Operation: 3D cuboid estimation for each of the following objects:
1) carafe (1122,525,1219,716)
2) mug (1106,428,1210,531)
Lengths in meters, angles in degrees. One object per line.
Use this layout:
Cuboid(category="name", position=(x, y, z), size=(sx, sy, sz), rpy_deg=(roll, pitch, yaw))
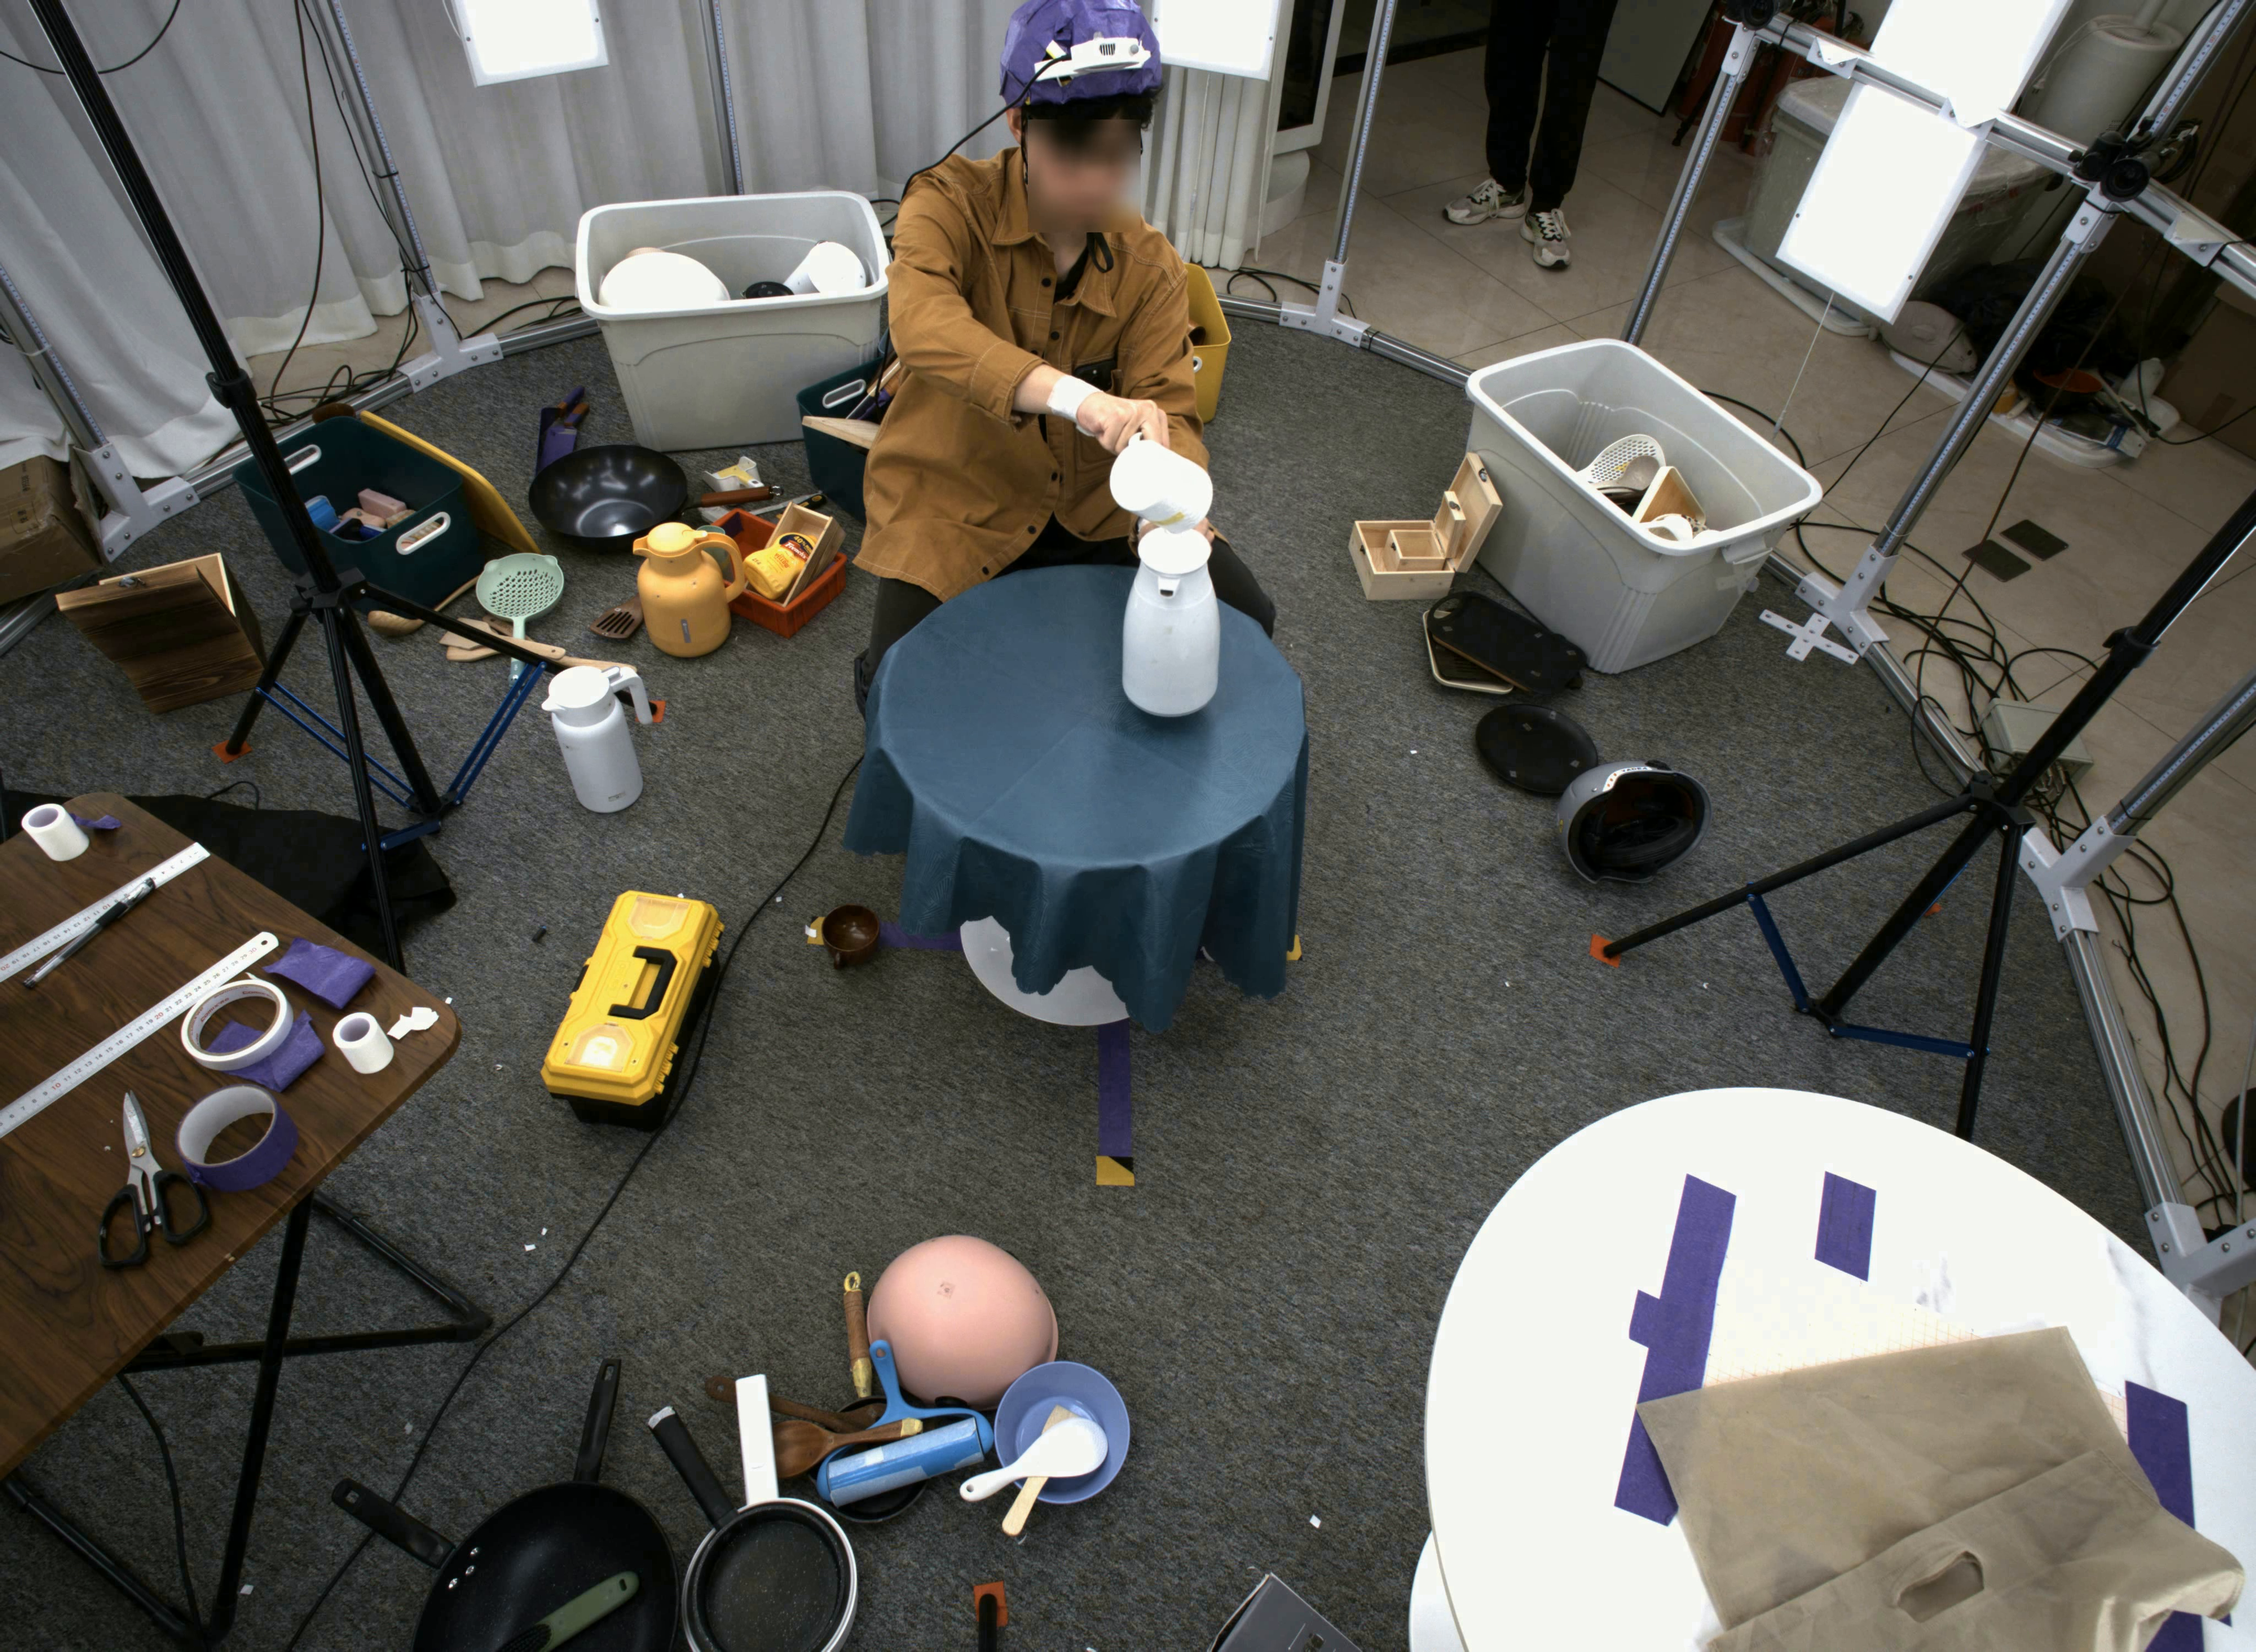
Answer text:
Cuboid(category="carafe", position=(0.058, -0.291, 1.706), size=(0.132, 0.242, 0.171), rpy_deg=(5, 51, 6))
Cuboid(category="mug", position=(0.029, -0.413, 1.507), size=(0.101, 0.084, 0.120), rpy_deg=(9, 56, -56))
